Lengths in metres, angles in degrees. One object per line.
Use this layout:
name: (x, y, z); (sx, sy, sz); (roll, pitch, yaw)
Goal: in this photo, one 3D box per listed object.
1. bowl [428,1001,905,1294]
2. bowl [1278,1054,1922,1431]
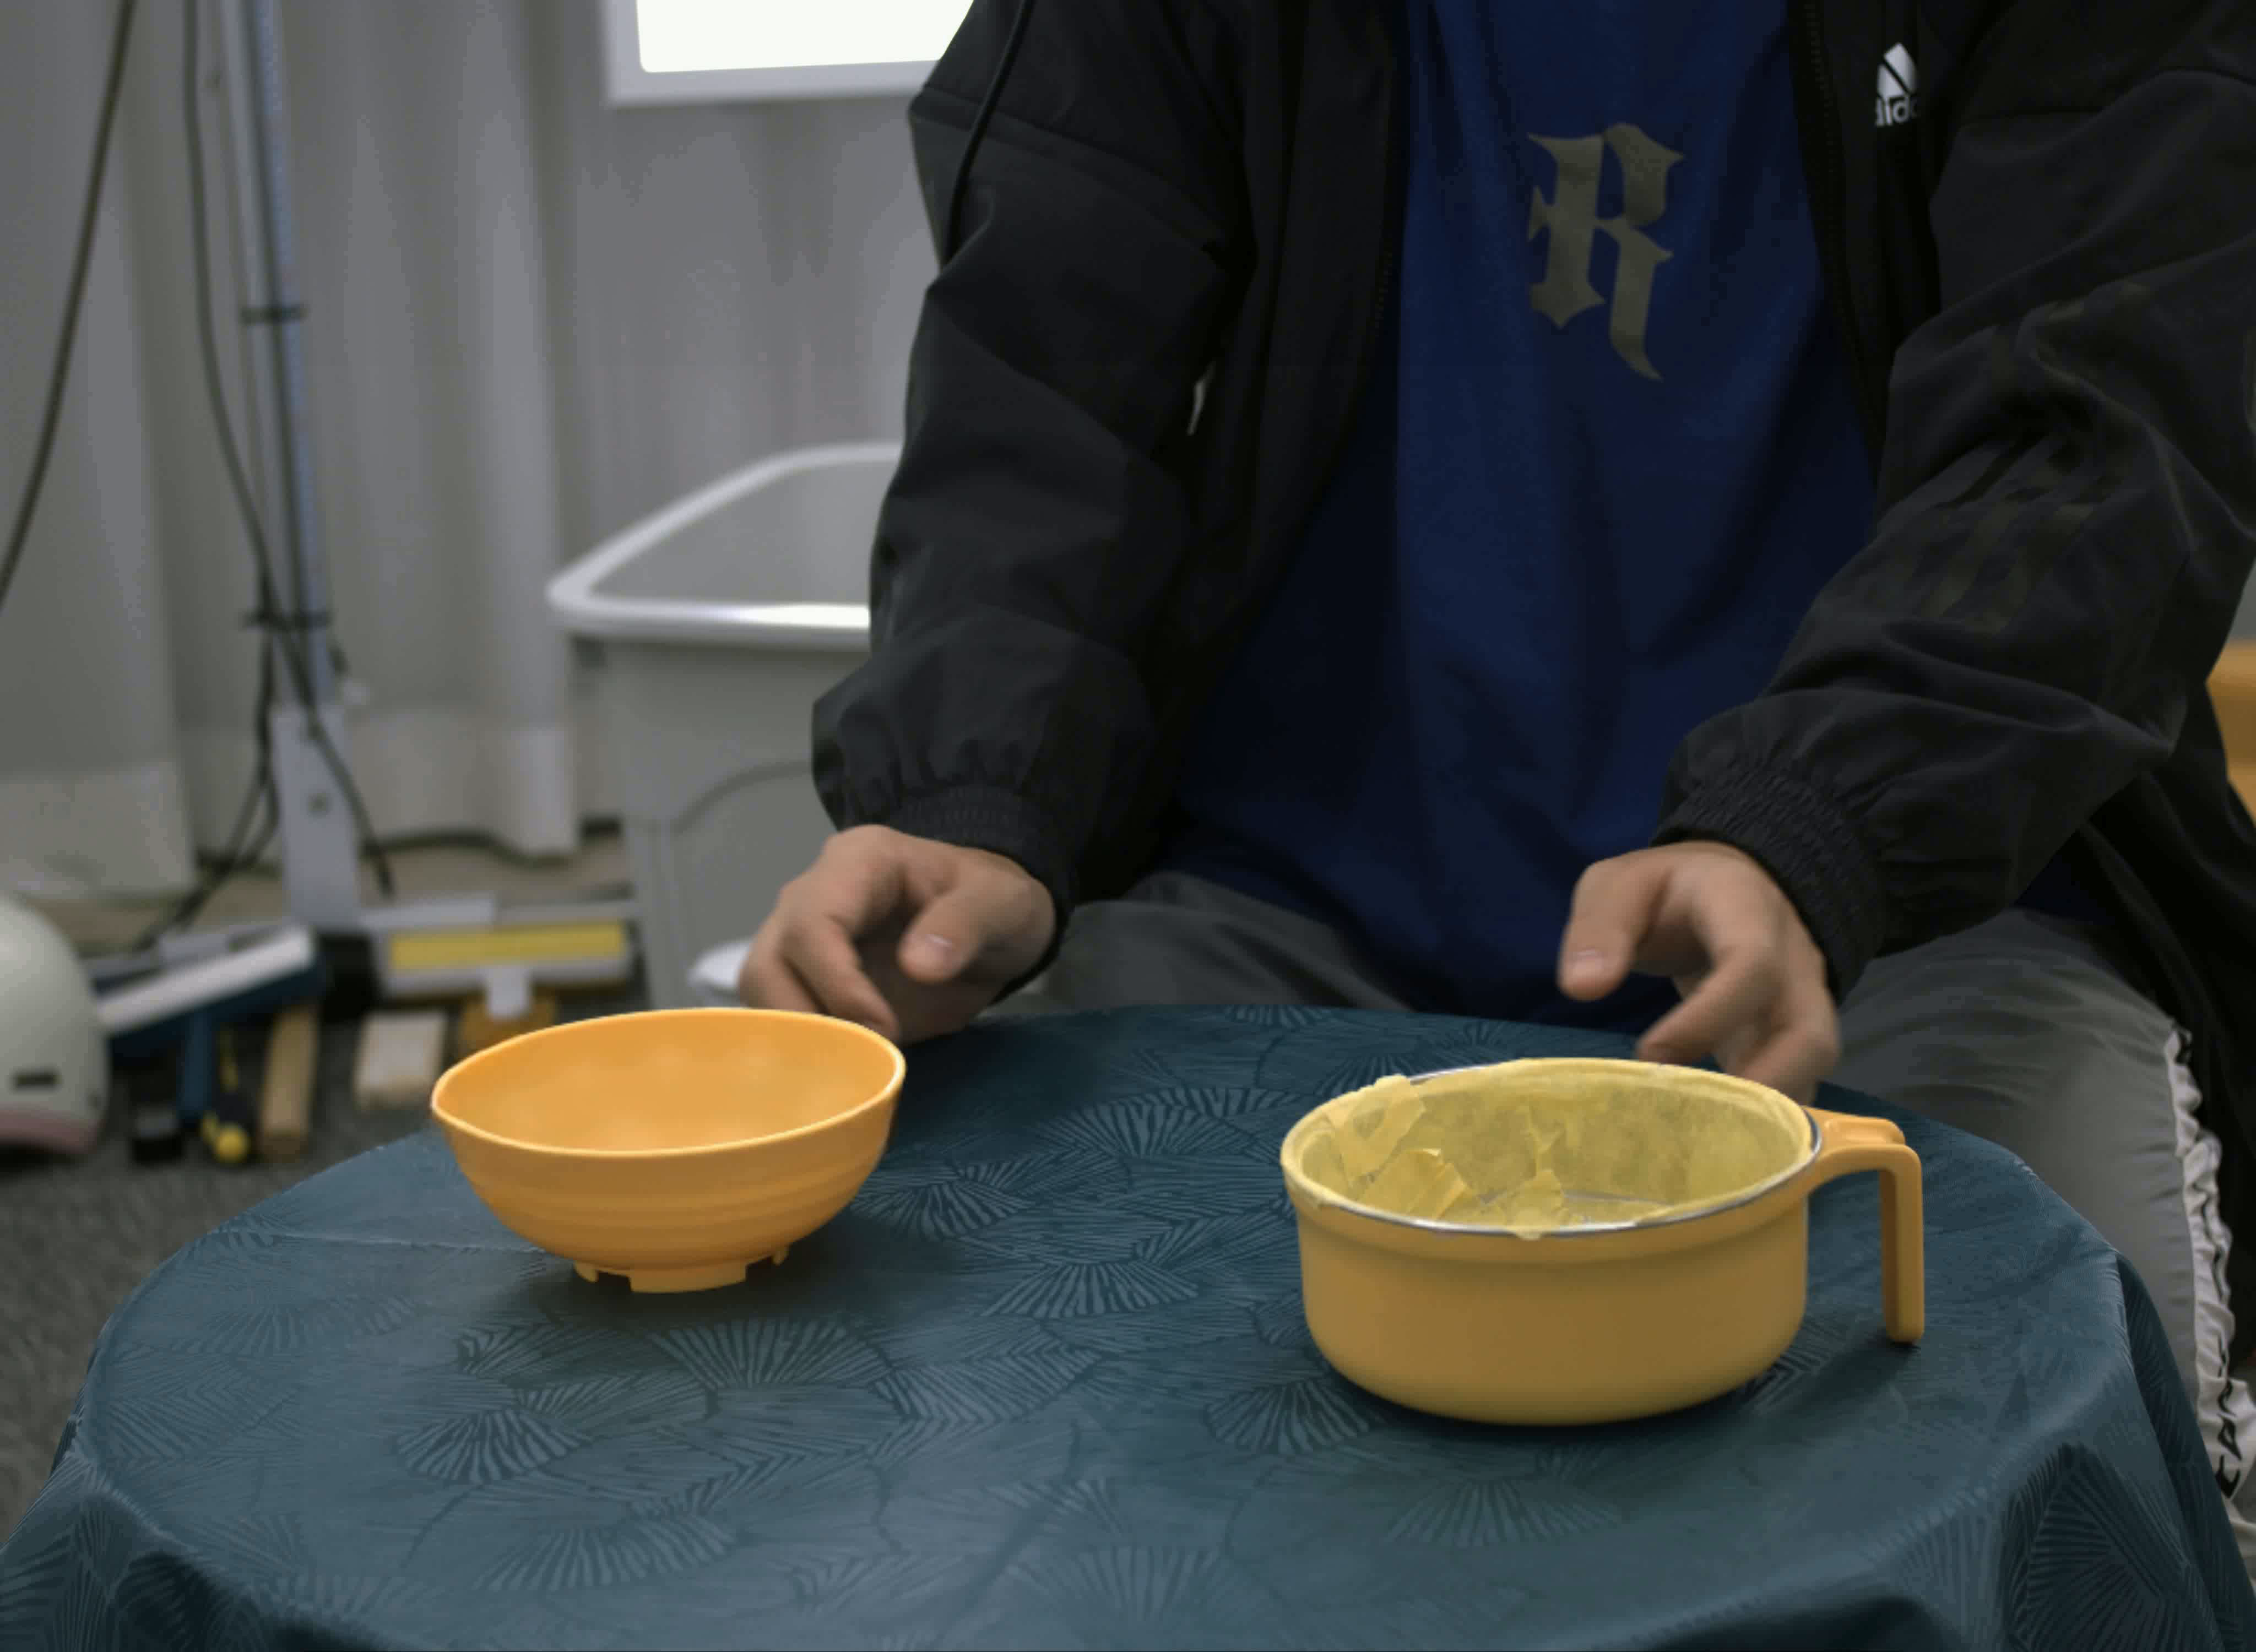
bowl: (-0.140, 0.104, 1.666); (0.145, 0.060, 0.146); (-1, 16, 0)
bowl: (0.133, 0.118, 1.538); (0.178, 0.074, 0.154); (-6, 12, -6)
